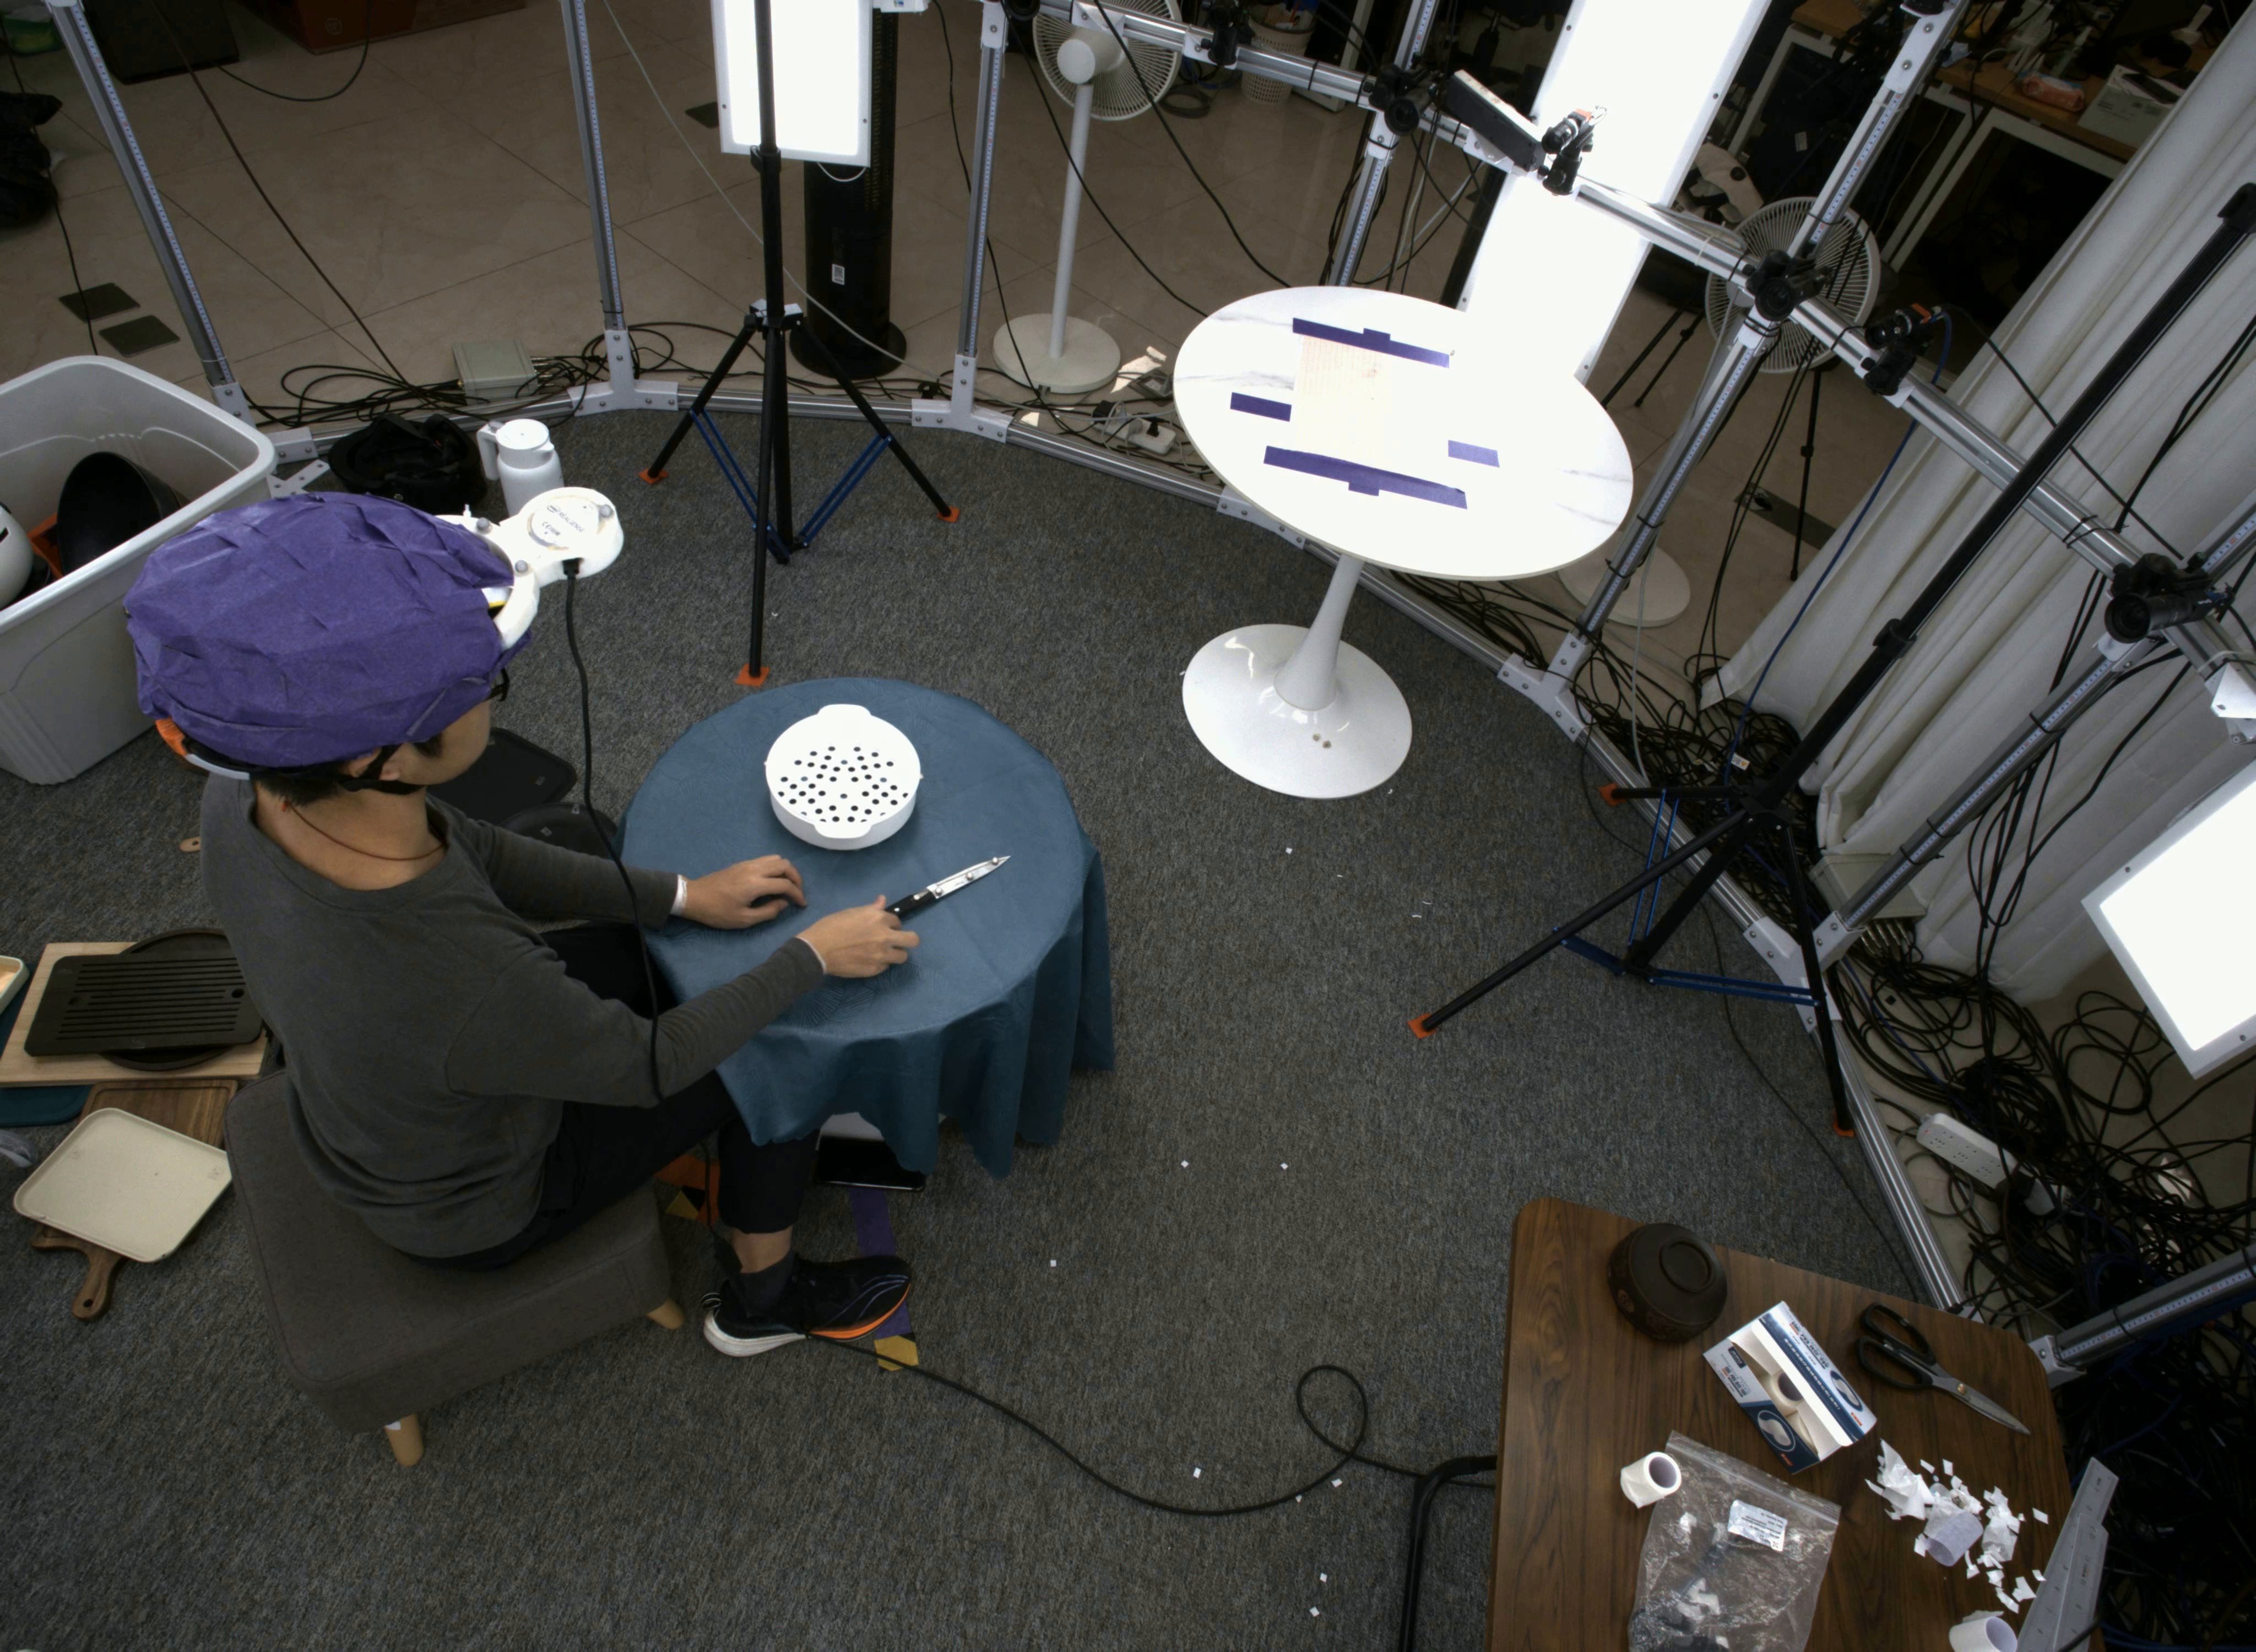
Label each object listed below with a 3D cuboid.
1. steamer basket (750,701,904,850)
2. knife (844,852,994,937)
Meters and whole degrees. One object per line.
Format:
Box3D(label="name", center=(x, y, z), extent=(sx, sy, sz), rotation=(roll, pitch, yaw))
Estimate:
Box3D(label="steamer basket", center=(-0.403, -0.062, 1.743), extent=(0.202, 0.070, 0.226), rotation=(0, 55, -13))
Box3D(label="knife", center=(-0.267, 0.085, 1.705), extent=(0.239, 0.016, 0.024), rotation=(-29, 65, -33))
